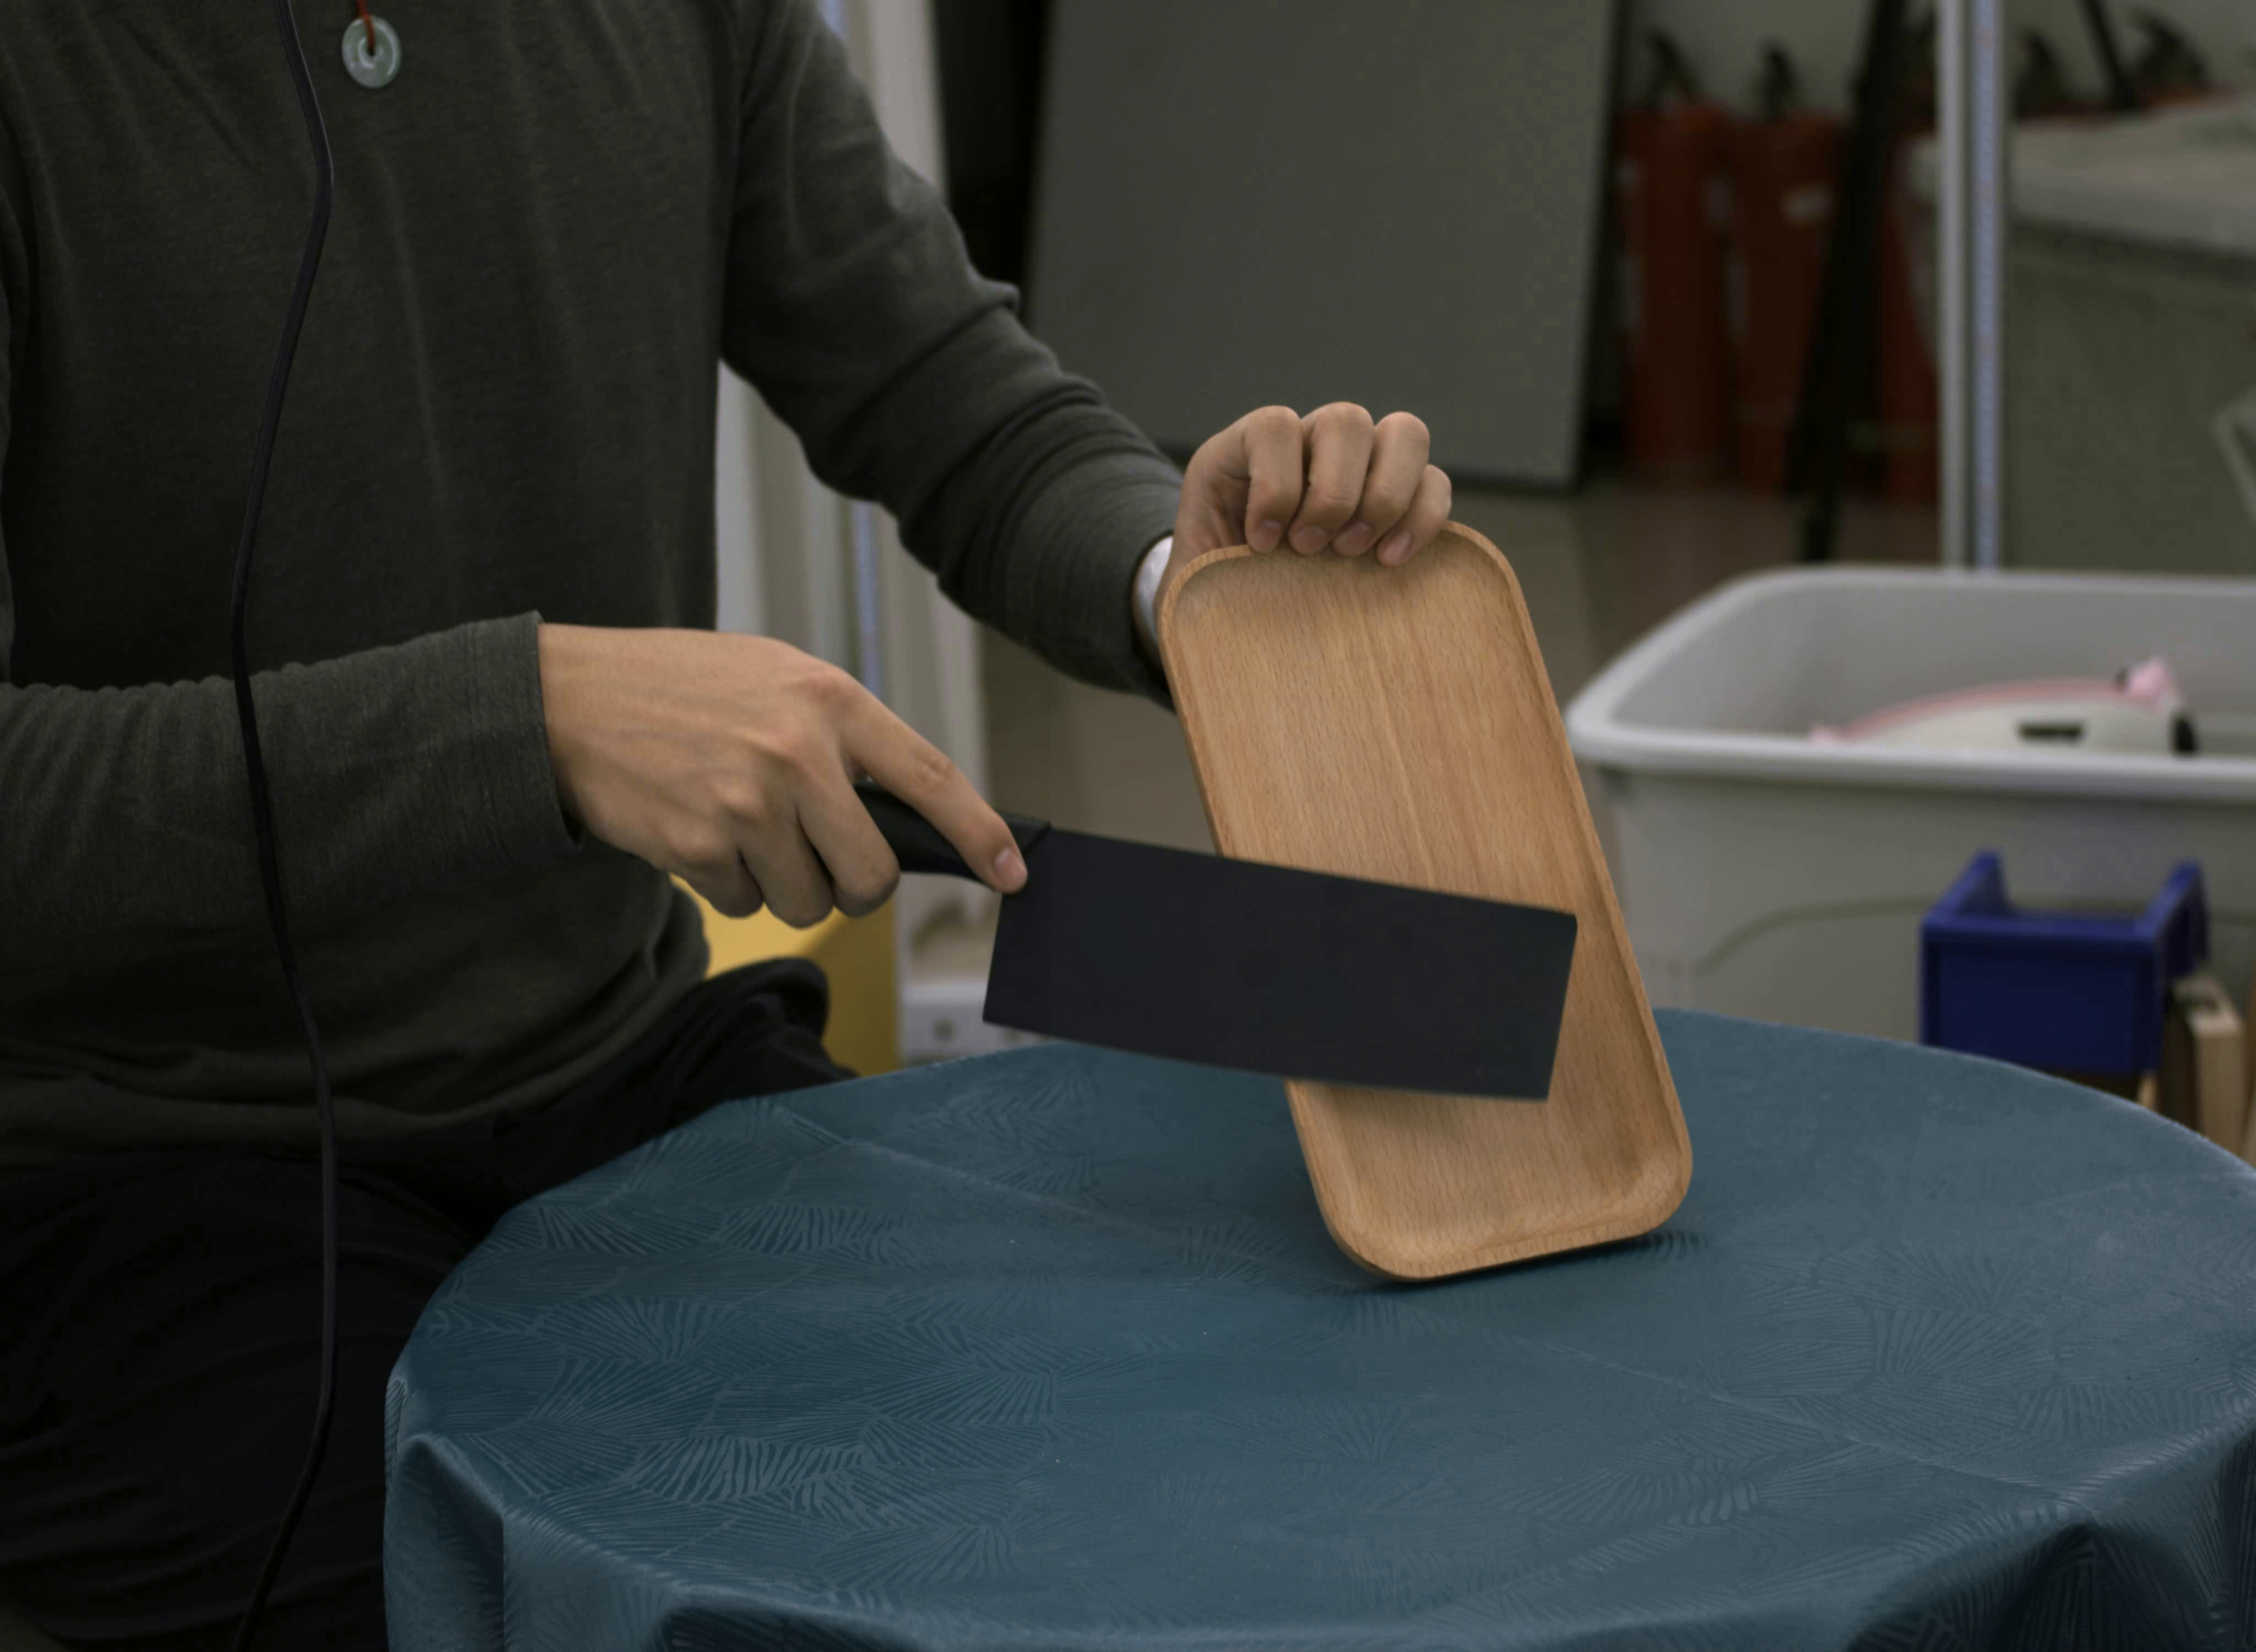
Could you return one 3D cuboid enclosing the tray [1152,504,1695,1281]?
[{"bbox_3d":[0.092,0.019,1.713,0.128,0.254,0.023,-8,-21,-19],"label":"tray"}]

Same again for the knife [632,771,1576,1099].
[{"bbox_3d":[-0.009,0.031,1.685,0.300,0.082,0.021,13,-9,9],"label":"knife"}]
